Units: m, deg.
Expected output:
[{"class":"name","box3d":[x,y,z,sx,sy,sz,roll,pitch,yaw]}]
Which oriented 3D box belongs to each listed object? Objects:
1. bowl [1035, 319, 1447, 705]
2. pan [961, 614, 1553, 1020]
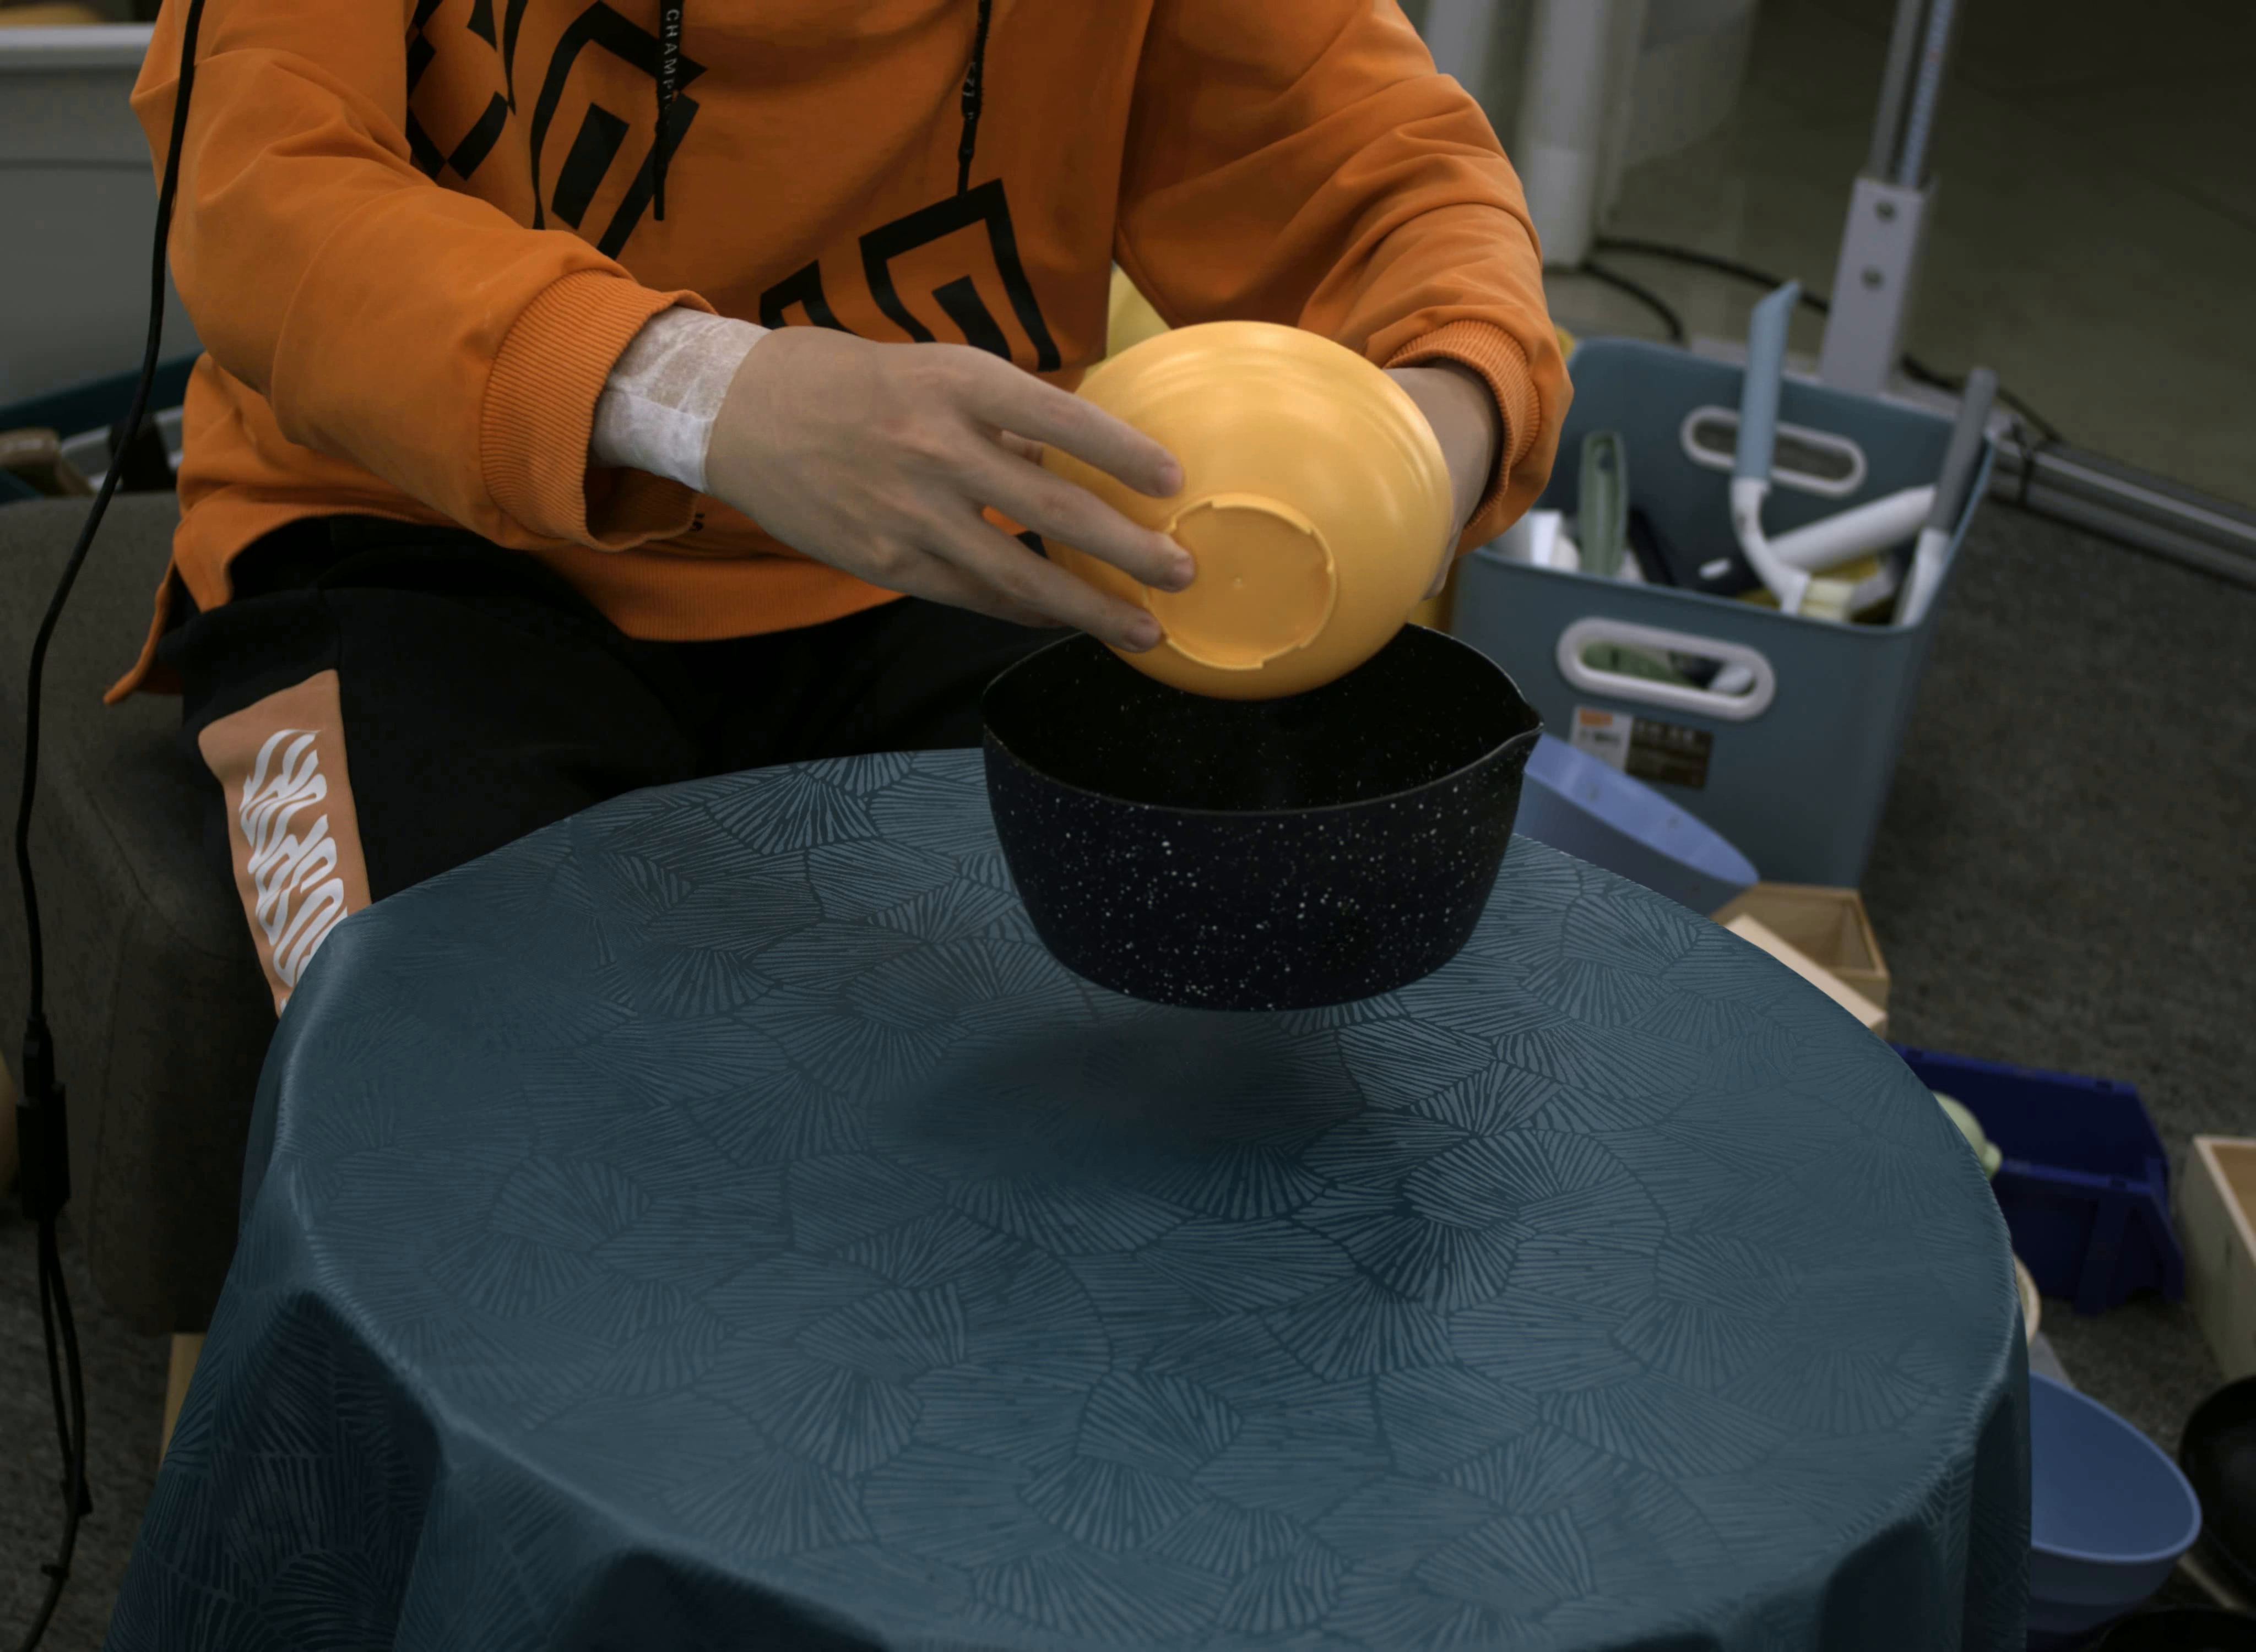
[{"class":"bowl","box3d":[0.037,-0.096,1.821,0.145,0.145,0.060,7,31,0]},{"class":"pan","box3d":[0.056,-0.046,1.900,0.207,0.108,0.344,1,25,10]}]
